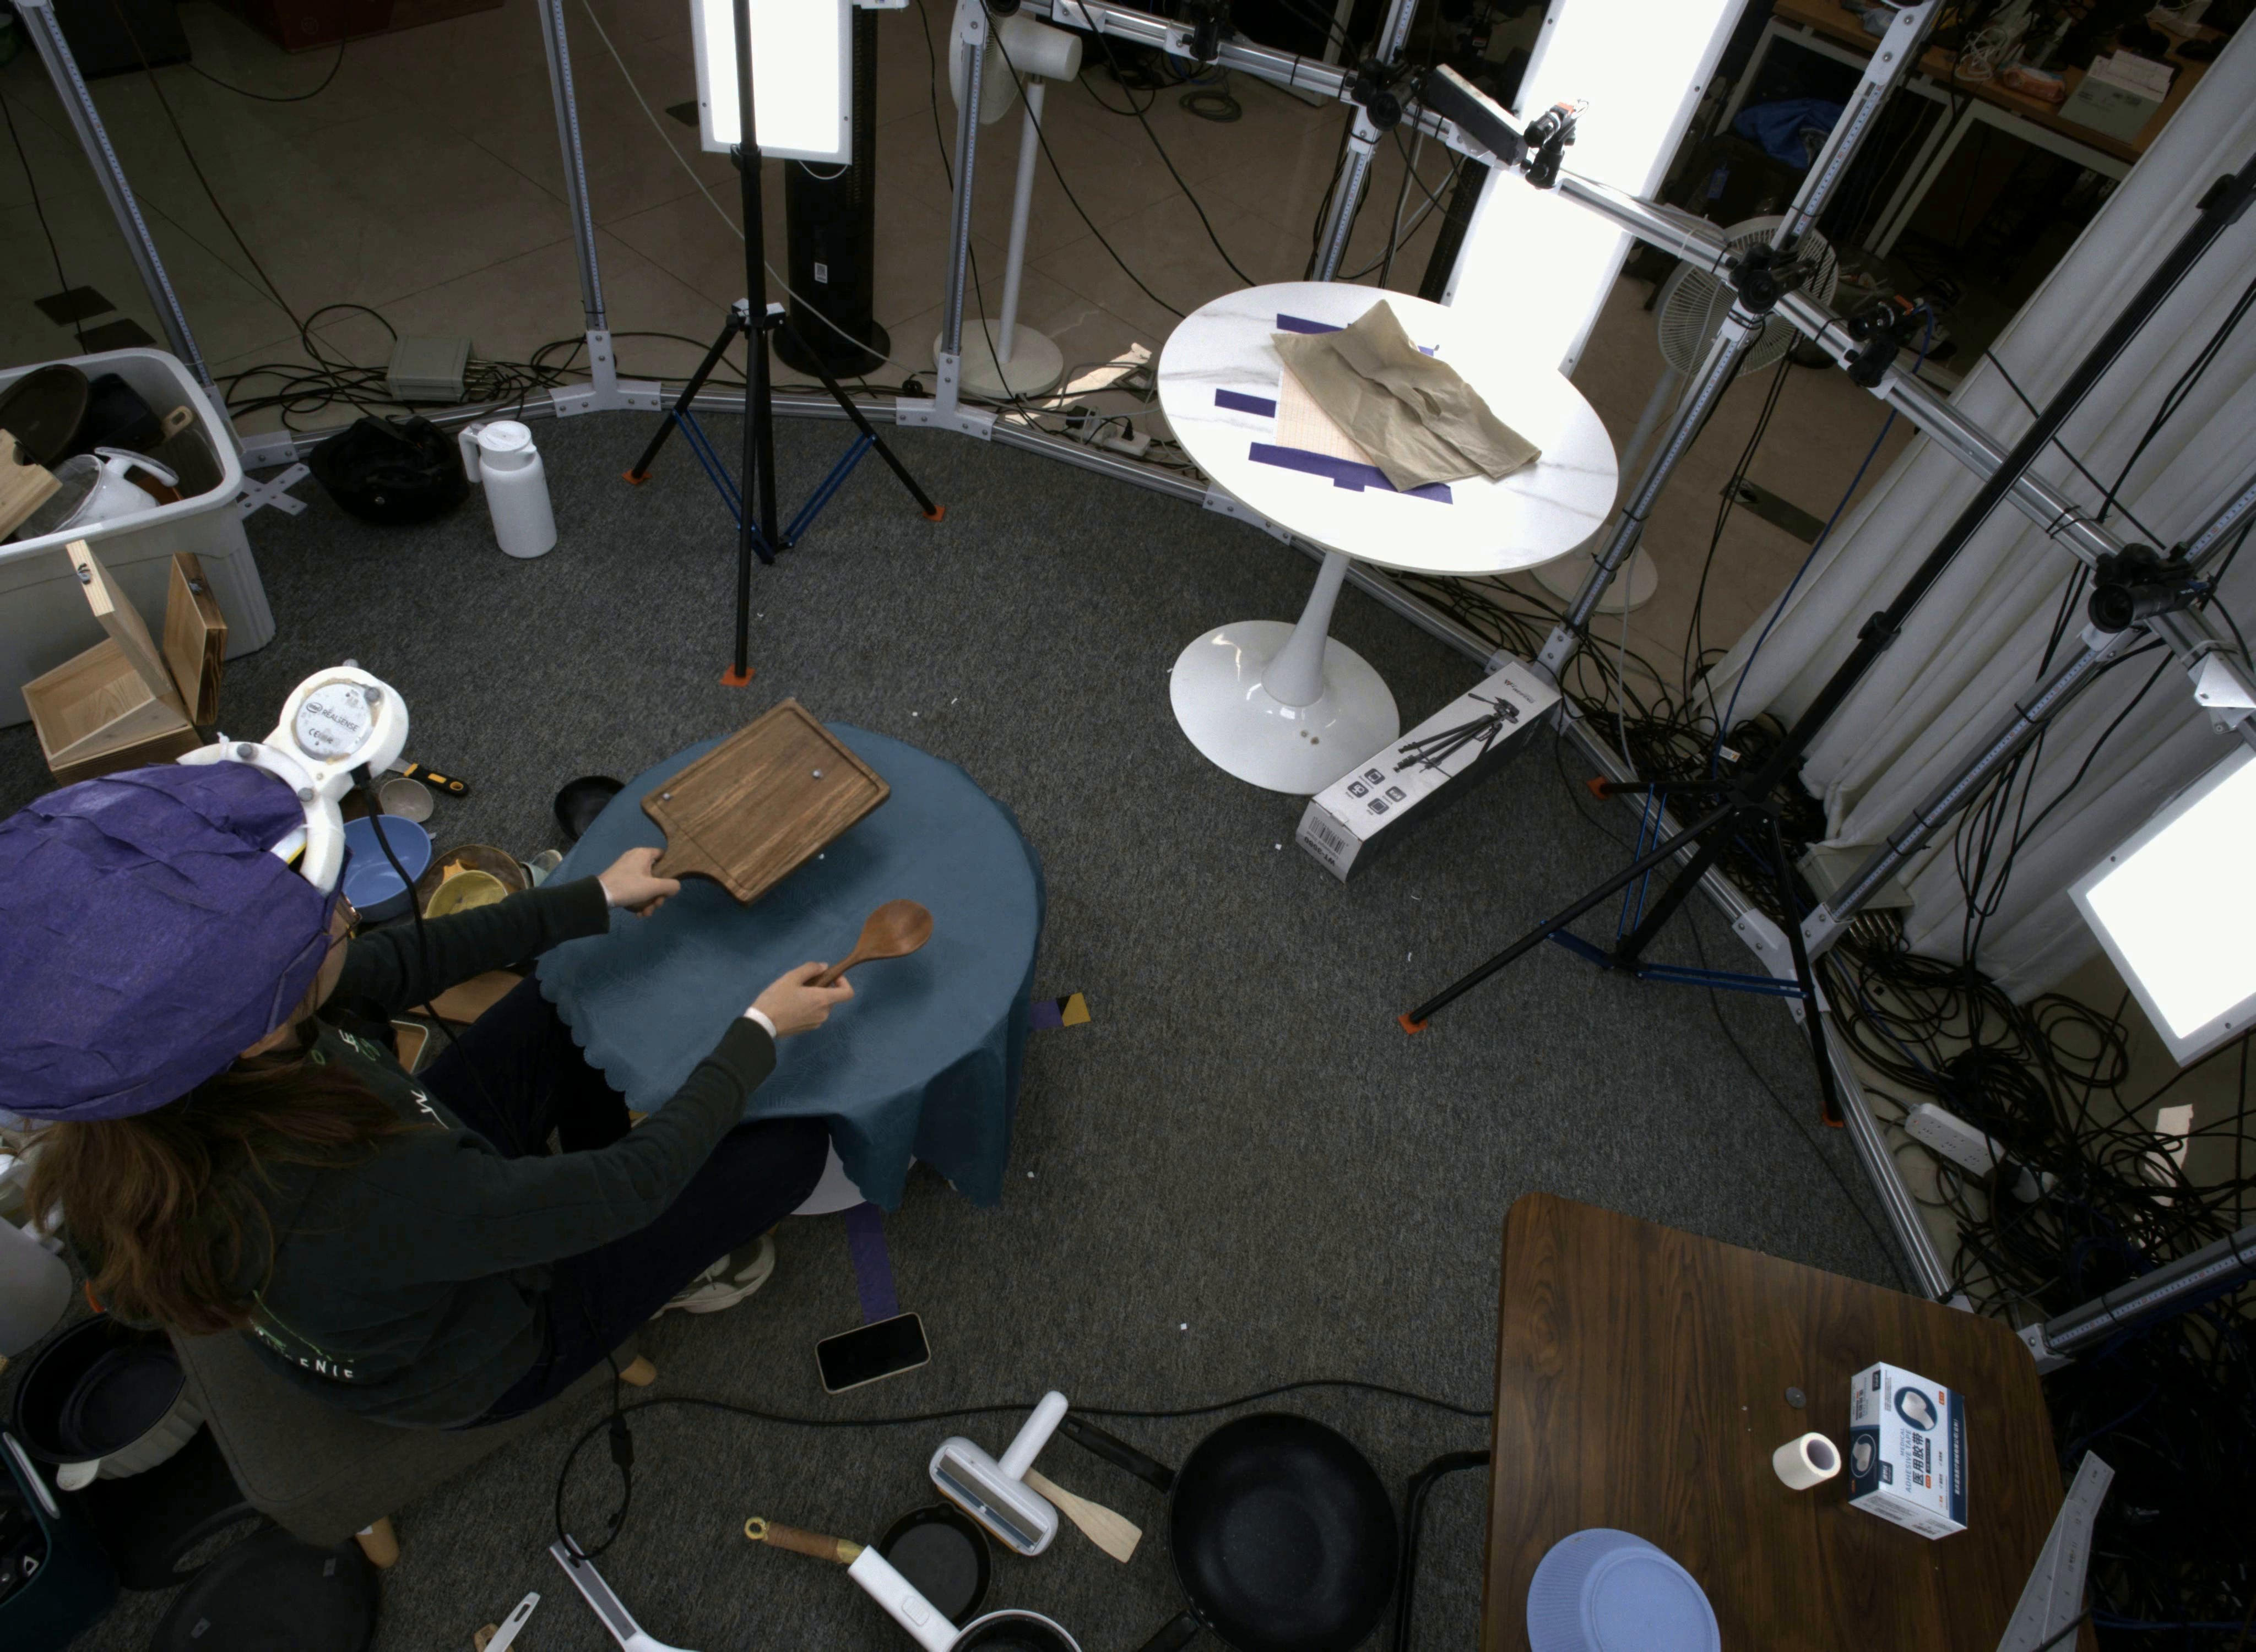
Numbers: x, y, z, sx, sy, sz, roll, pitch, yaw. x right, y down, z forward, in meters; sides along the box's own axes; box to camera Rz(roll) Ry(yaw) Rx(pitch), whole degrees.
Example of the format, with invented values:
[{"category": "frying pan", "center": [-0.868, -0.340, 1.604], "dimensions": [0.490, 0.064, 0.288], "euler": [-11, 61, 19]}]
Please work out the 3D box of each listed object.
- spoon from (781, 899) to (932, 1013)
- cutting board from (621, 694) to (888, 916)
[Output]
[{"category": "spoon", "center": [-0.323, 0.154, 1.546], "dimensions": [0.074, 0.017, 0.216], "euler": [45, 52, 12]}, {"category": "cutting board", "center": [-0.489, -0.009, 1.608], "dimensions": [0.199, 0.023, 0.352], "euler": [42, 58, 7]}]
